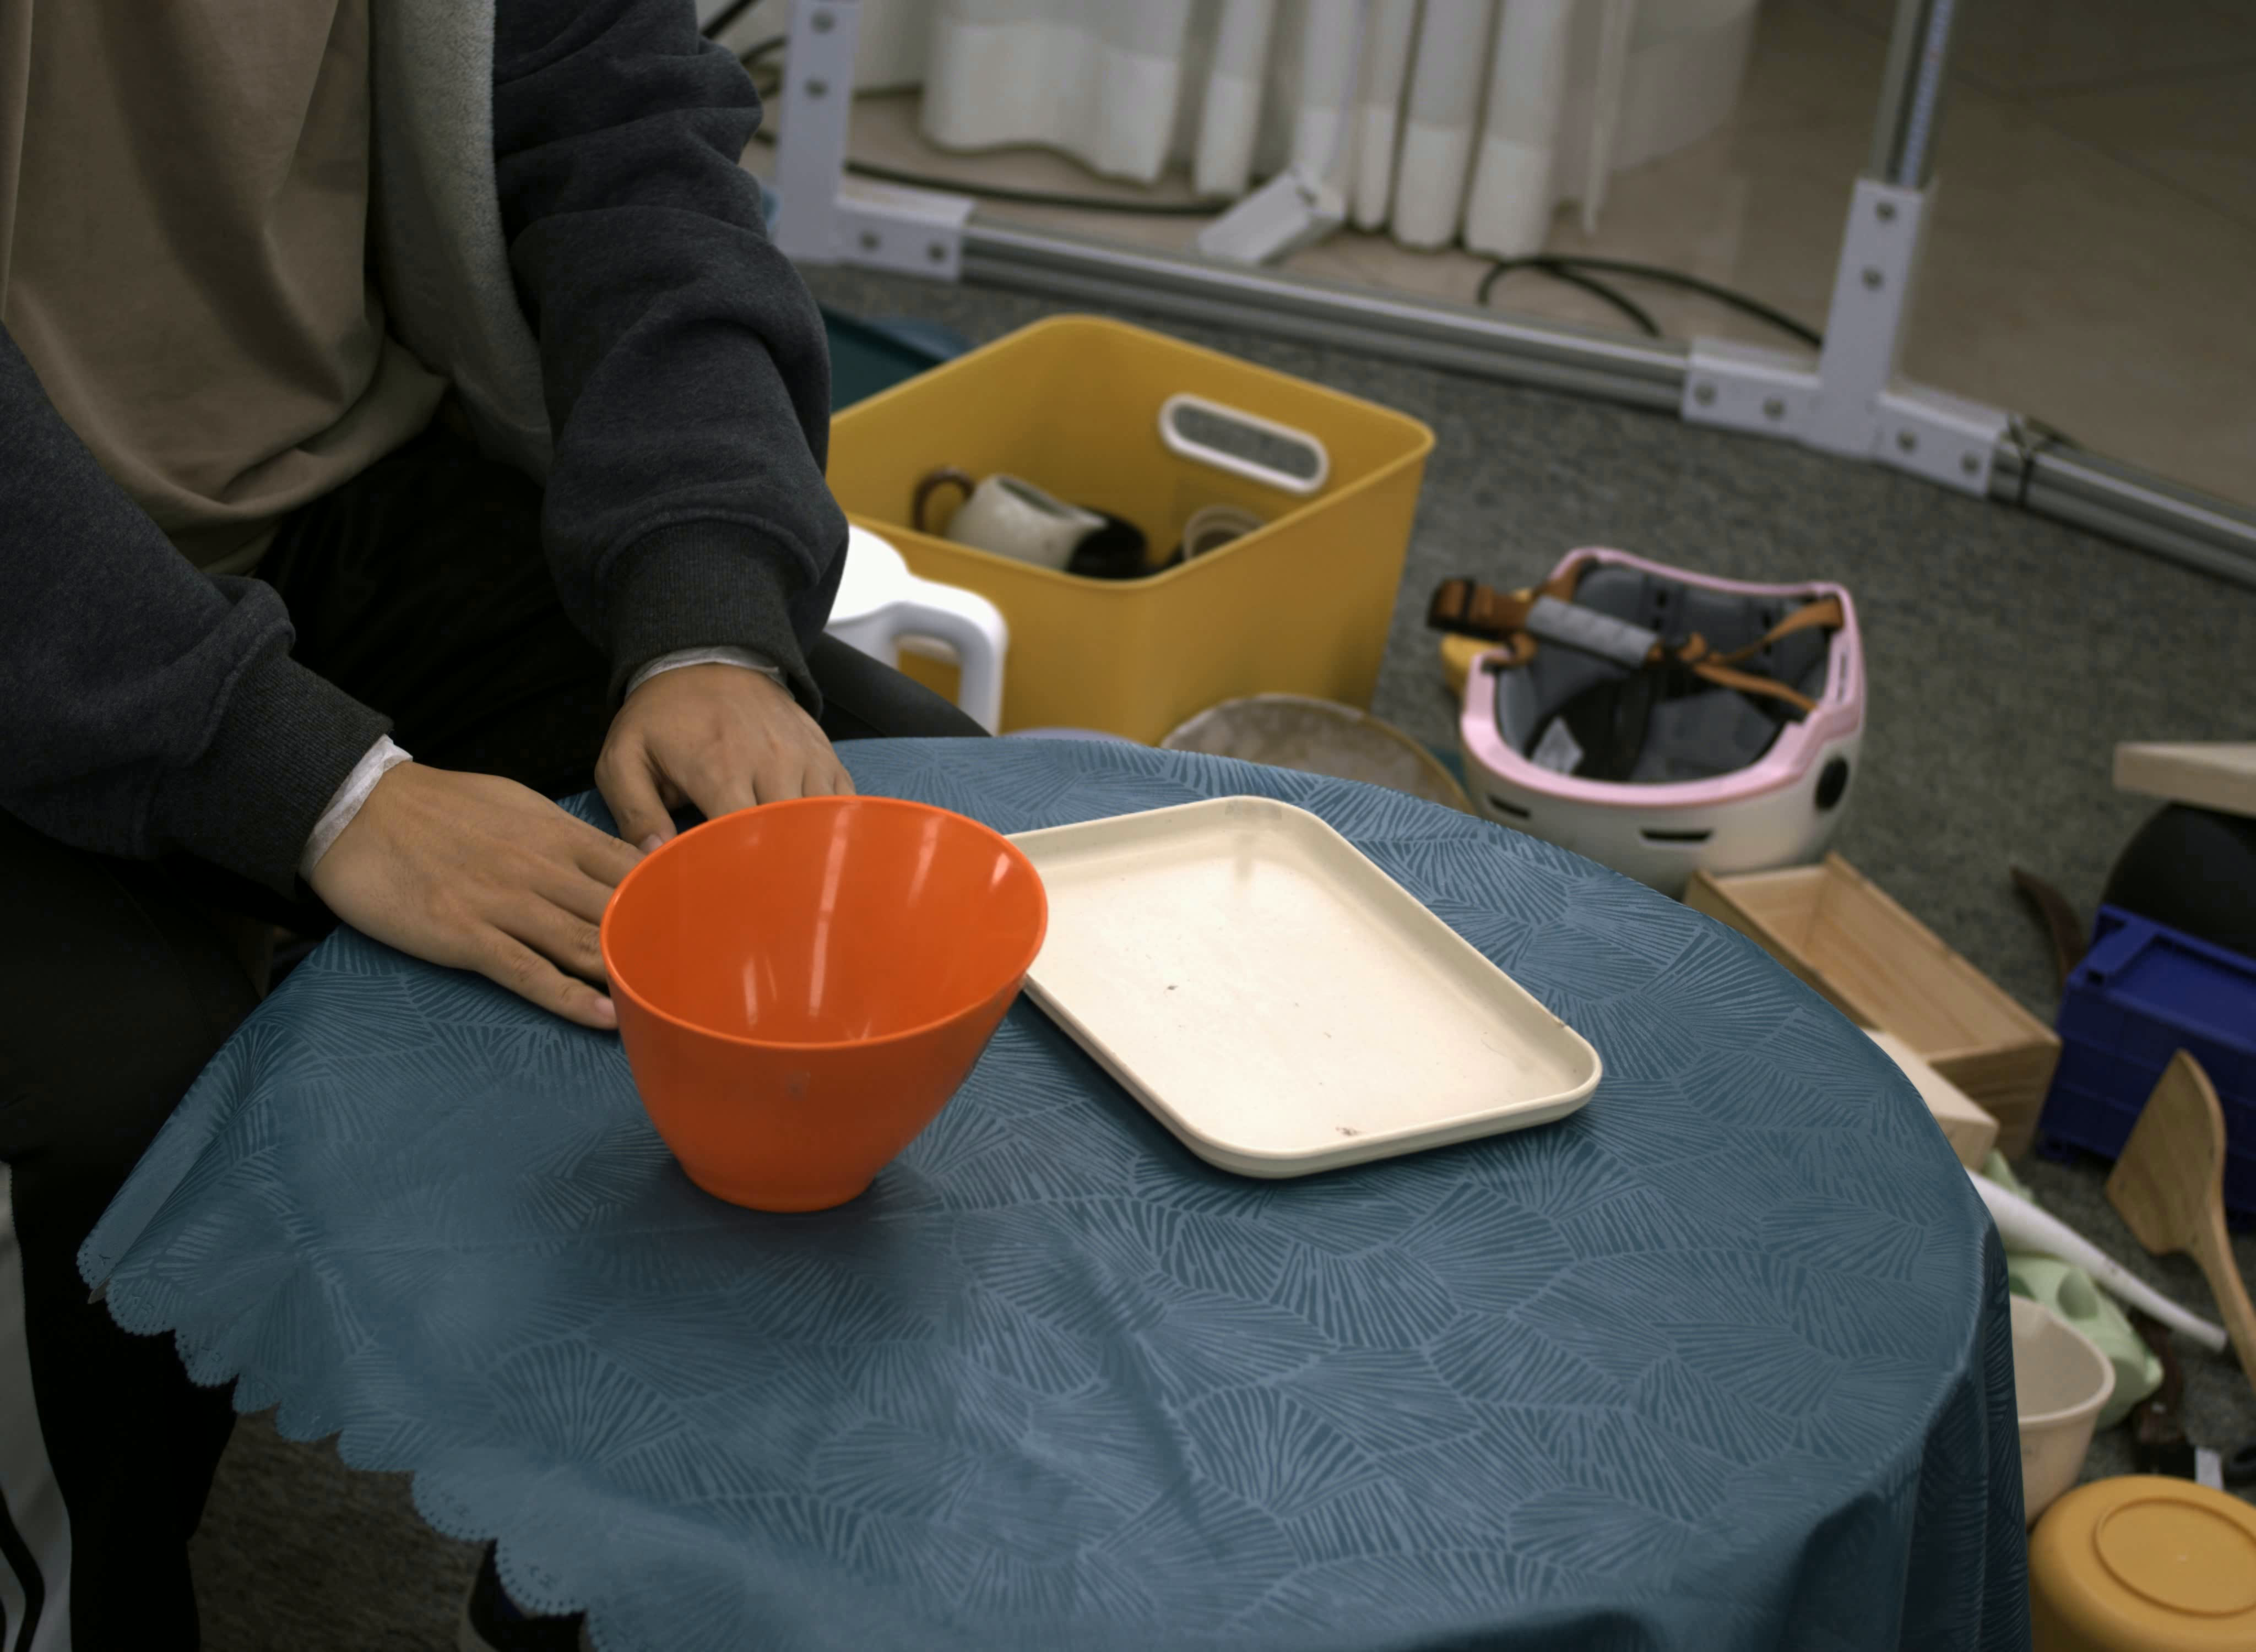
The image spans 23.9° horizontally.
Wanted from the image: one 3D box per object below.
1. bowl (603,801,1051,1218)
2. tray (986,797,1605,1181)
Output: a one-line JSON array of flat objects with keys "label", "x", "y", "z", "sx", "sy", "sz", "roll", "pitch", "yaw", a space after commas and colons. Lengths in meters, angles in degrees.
[{"label": "bowl", "x": -0.104, "y": 0.068, "z": 1.777, "sx": 0.147, "sy": 0.104, "sz": 0.149, "roll": 6, "pitch": 27, "yaw": -4}, {"label": "tray", "x": 0.047, "y": 0.057, "z": 1.923, "sx": 0.170, "sy": 0.017, "sz": 0.242, "roll": -10, "pitch": 31, "yaw": -29}]
